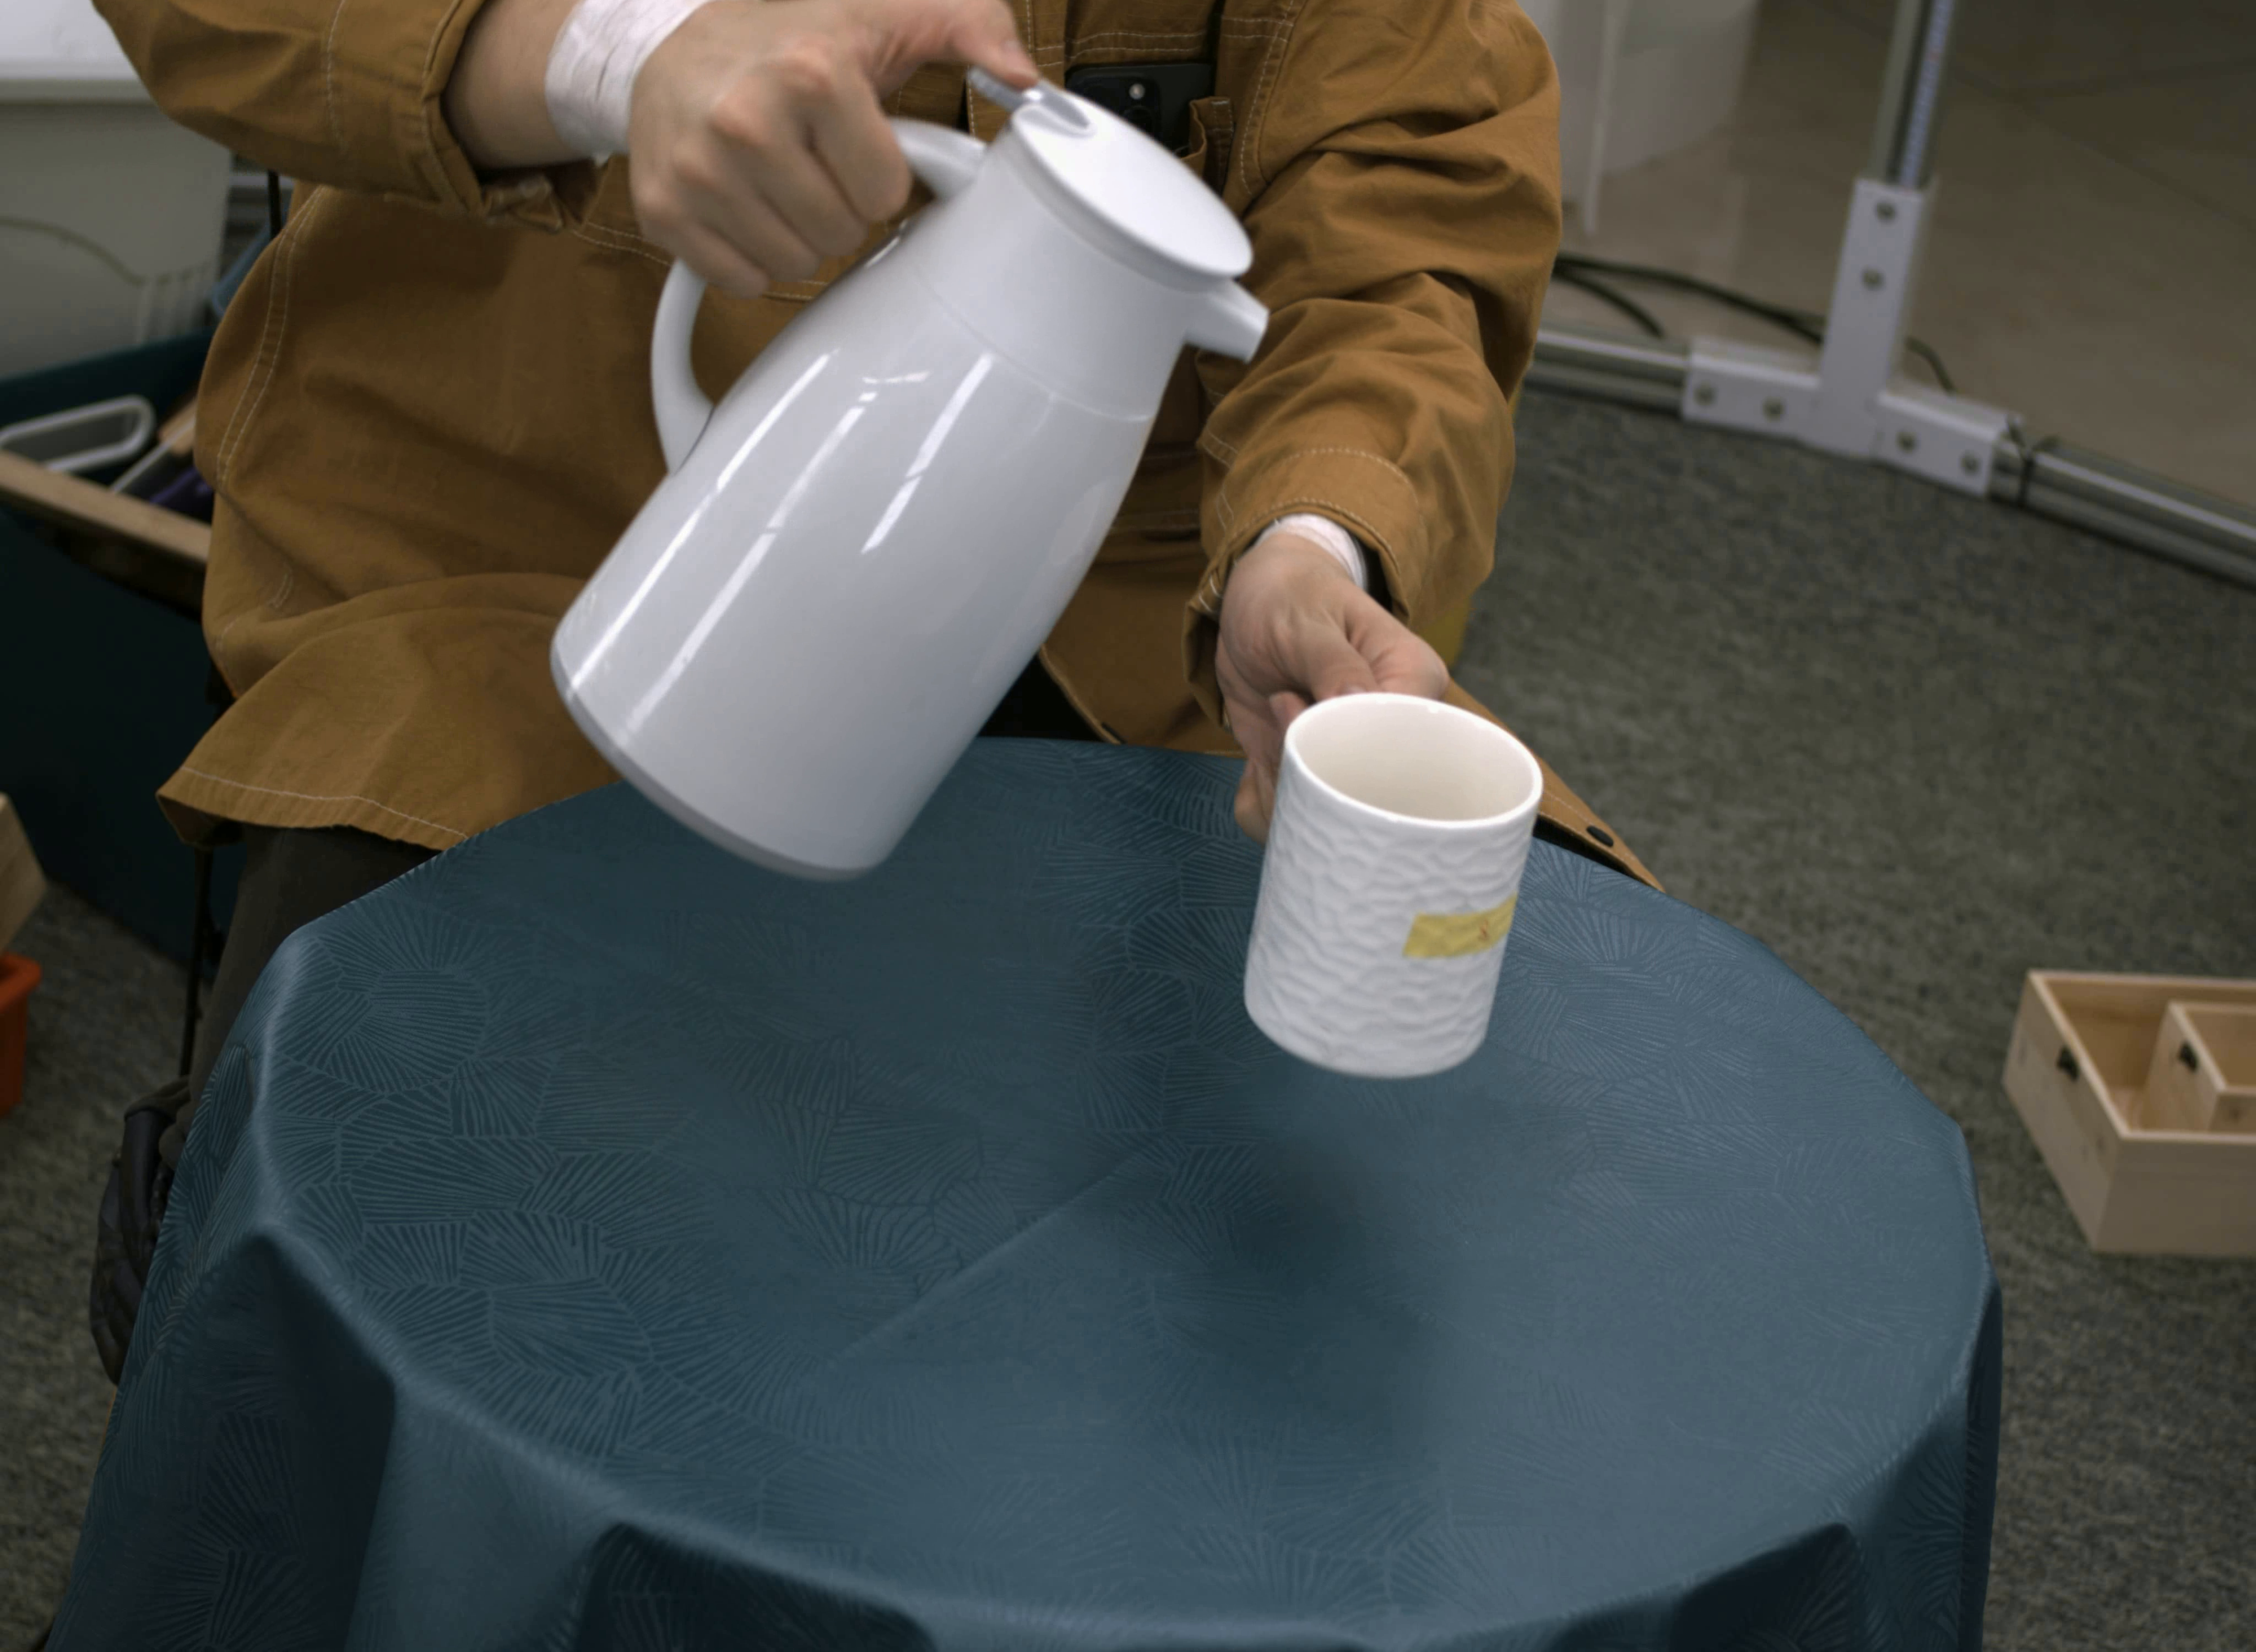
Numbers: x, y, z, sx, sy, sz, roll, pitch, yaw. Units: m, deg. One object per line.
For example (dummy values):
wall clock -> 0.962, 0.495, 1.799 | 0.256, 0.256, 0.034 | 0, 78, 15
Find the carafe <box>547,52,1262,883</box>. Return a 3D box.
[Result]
carafe -> -0.082, -0.126, 1.694 | 0.167, 0.248, 0.133 | 32, 23, -10

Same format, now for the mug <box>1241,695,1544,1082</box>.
mug -> 0.081, 0.014, 1.769 | 0.084, 0.101, 0.119 | 0, 29, -20
